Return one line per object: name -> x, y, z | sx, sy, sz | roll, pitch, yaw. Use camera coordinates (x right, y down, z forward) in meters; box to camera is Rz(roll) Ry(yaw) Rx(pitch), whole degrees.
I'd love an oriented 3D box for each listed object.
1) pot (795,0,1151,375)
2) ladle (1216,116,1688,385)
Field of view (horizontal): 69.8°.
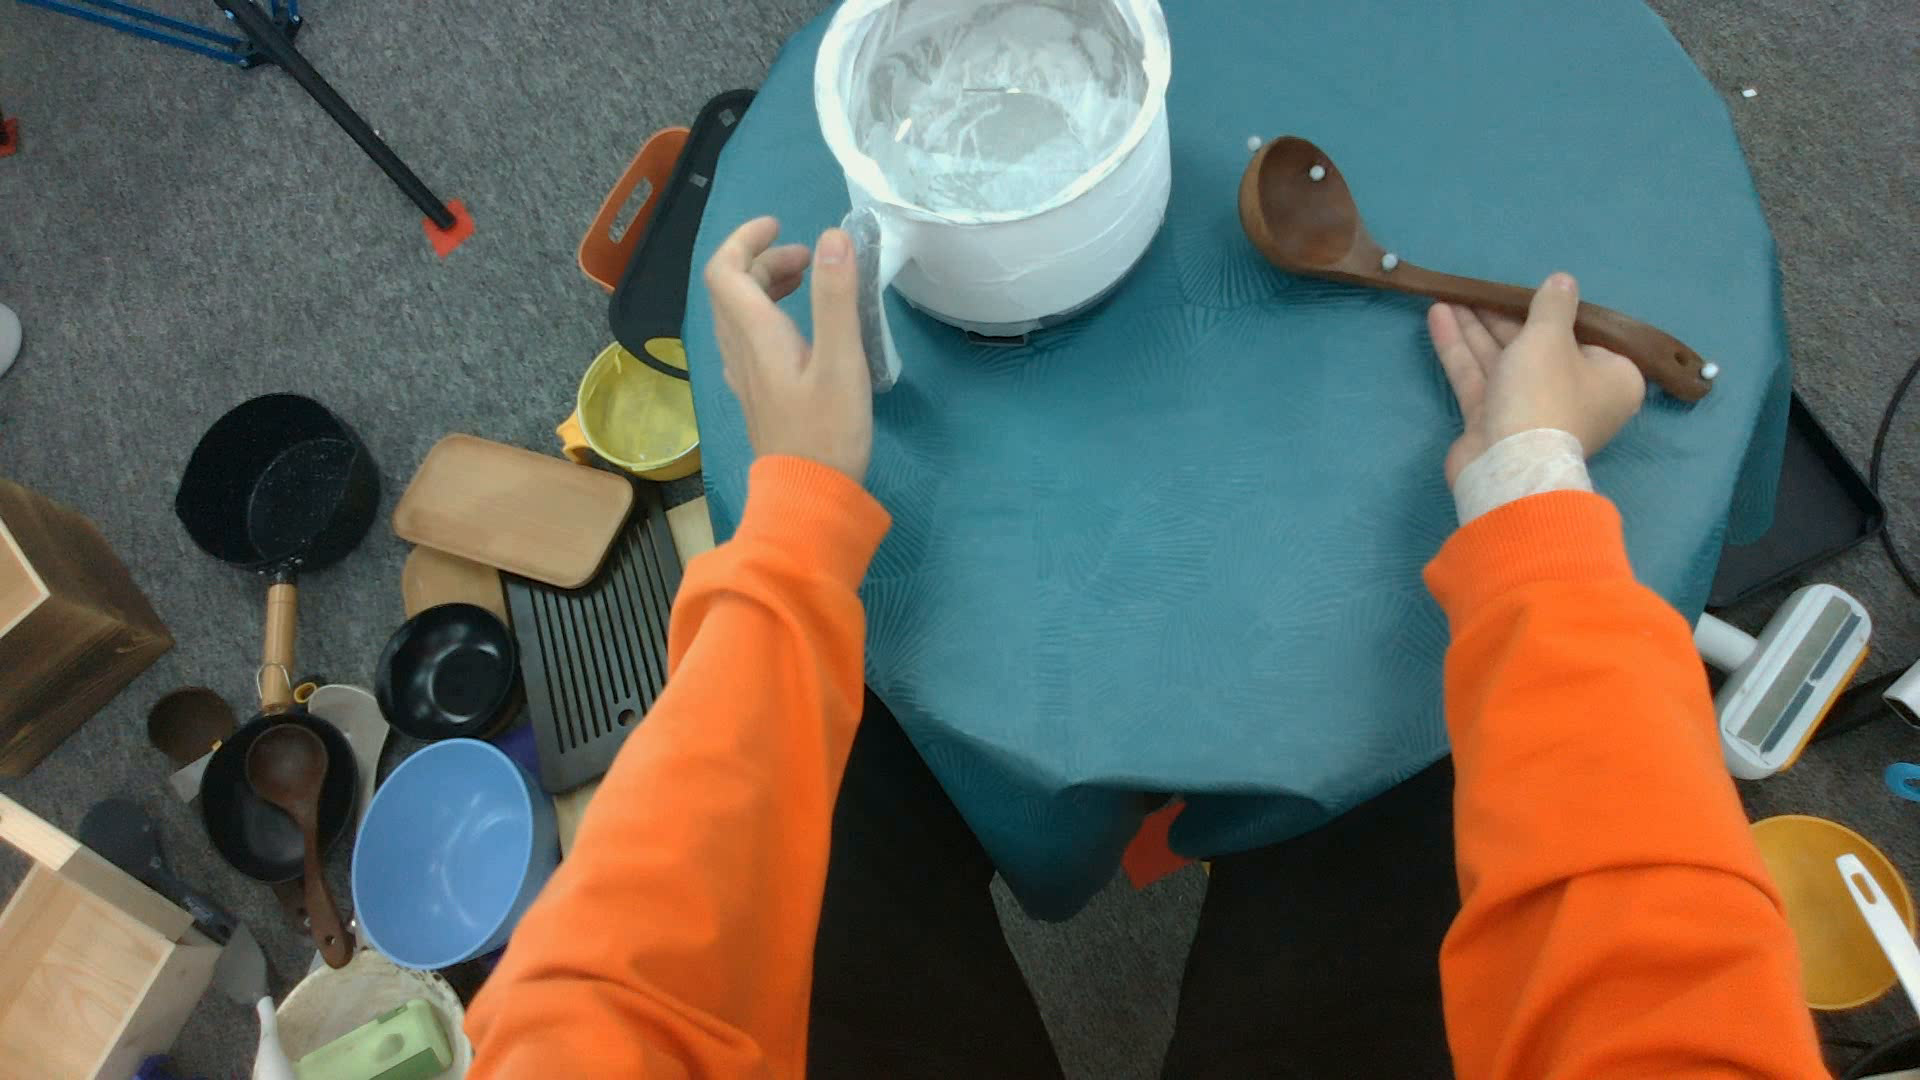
pot -> -0.003, -0.199, 0.733 | 0.179, 0.136, 0.234 | 32, 78, 18
ladle -> 0.256, -0.150, 0.718 | 0.260, 0.065, 0.077 | 25, 66, 17
